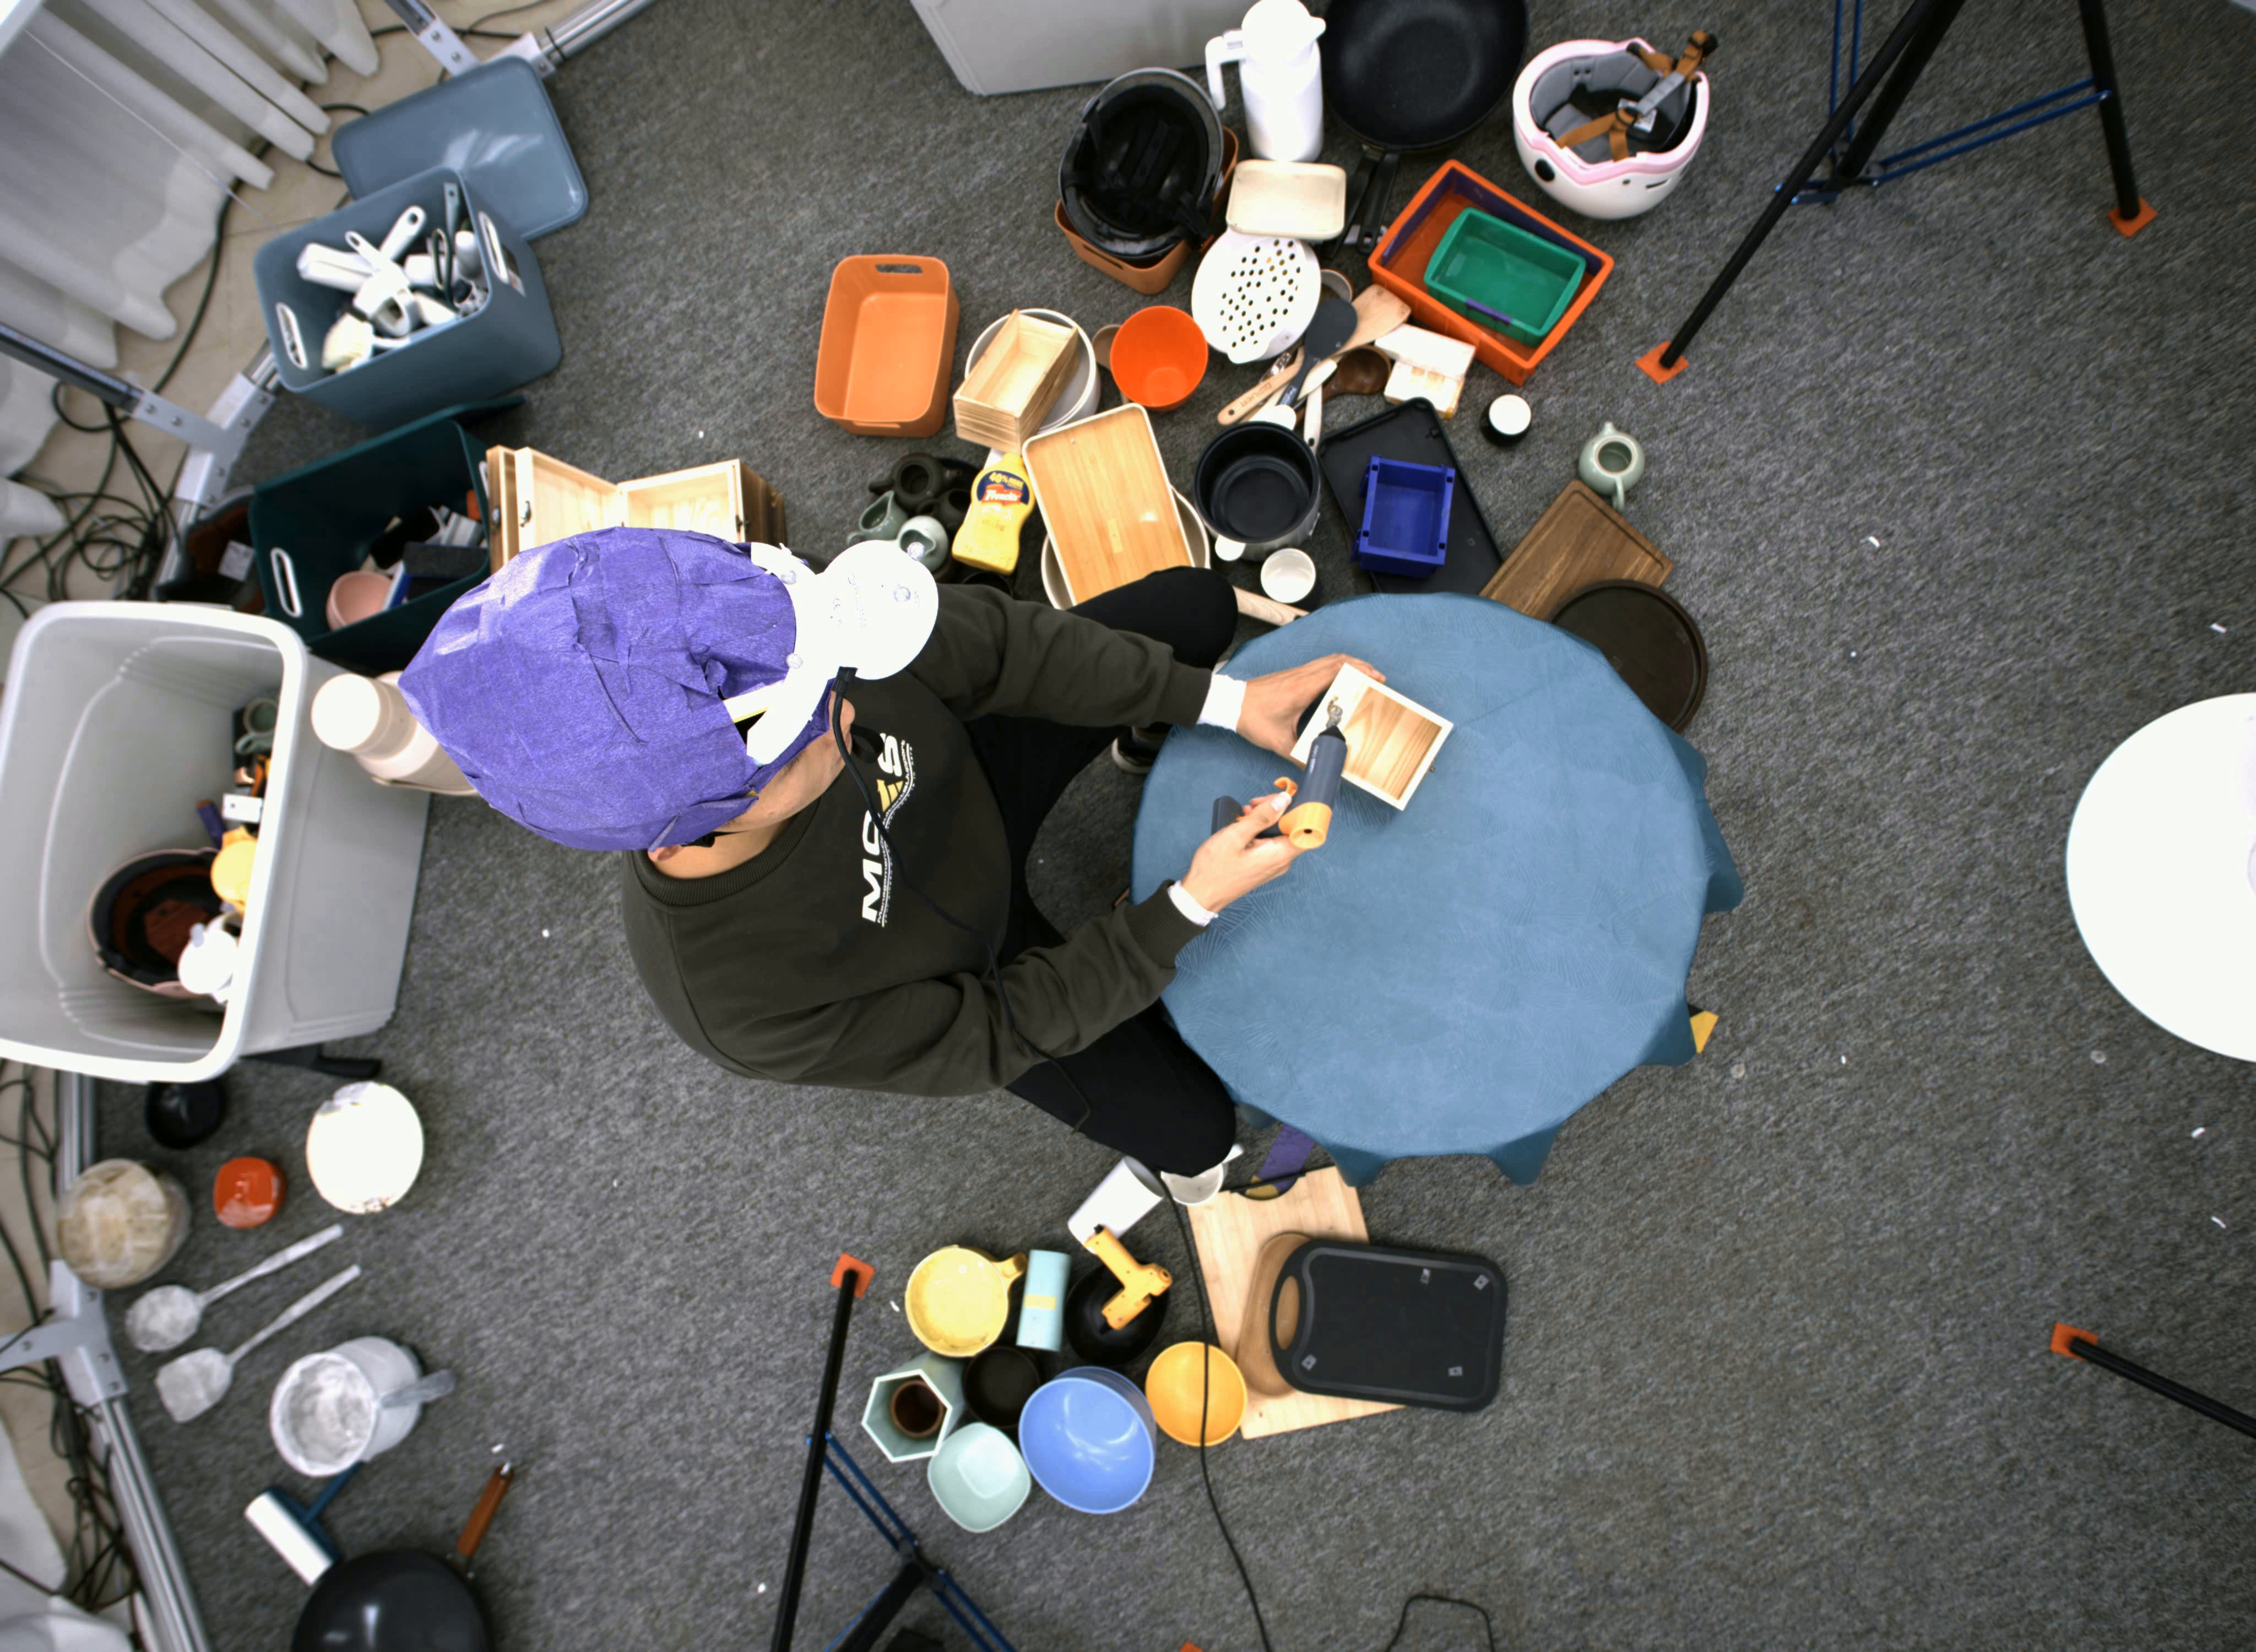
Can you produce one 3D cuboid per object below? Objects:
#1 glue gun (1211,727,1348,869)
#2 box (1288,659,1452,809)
[{"bbox_3d":[0.144,-0.024,1.279,0.142,0.041,0.115,-28,39,36],"label":"glue gun"},{"bbox_3d":[0.246,-0.090,1.371,0.134,0.183,0.103,30,100,8],"label":"box"}]
